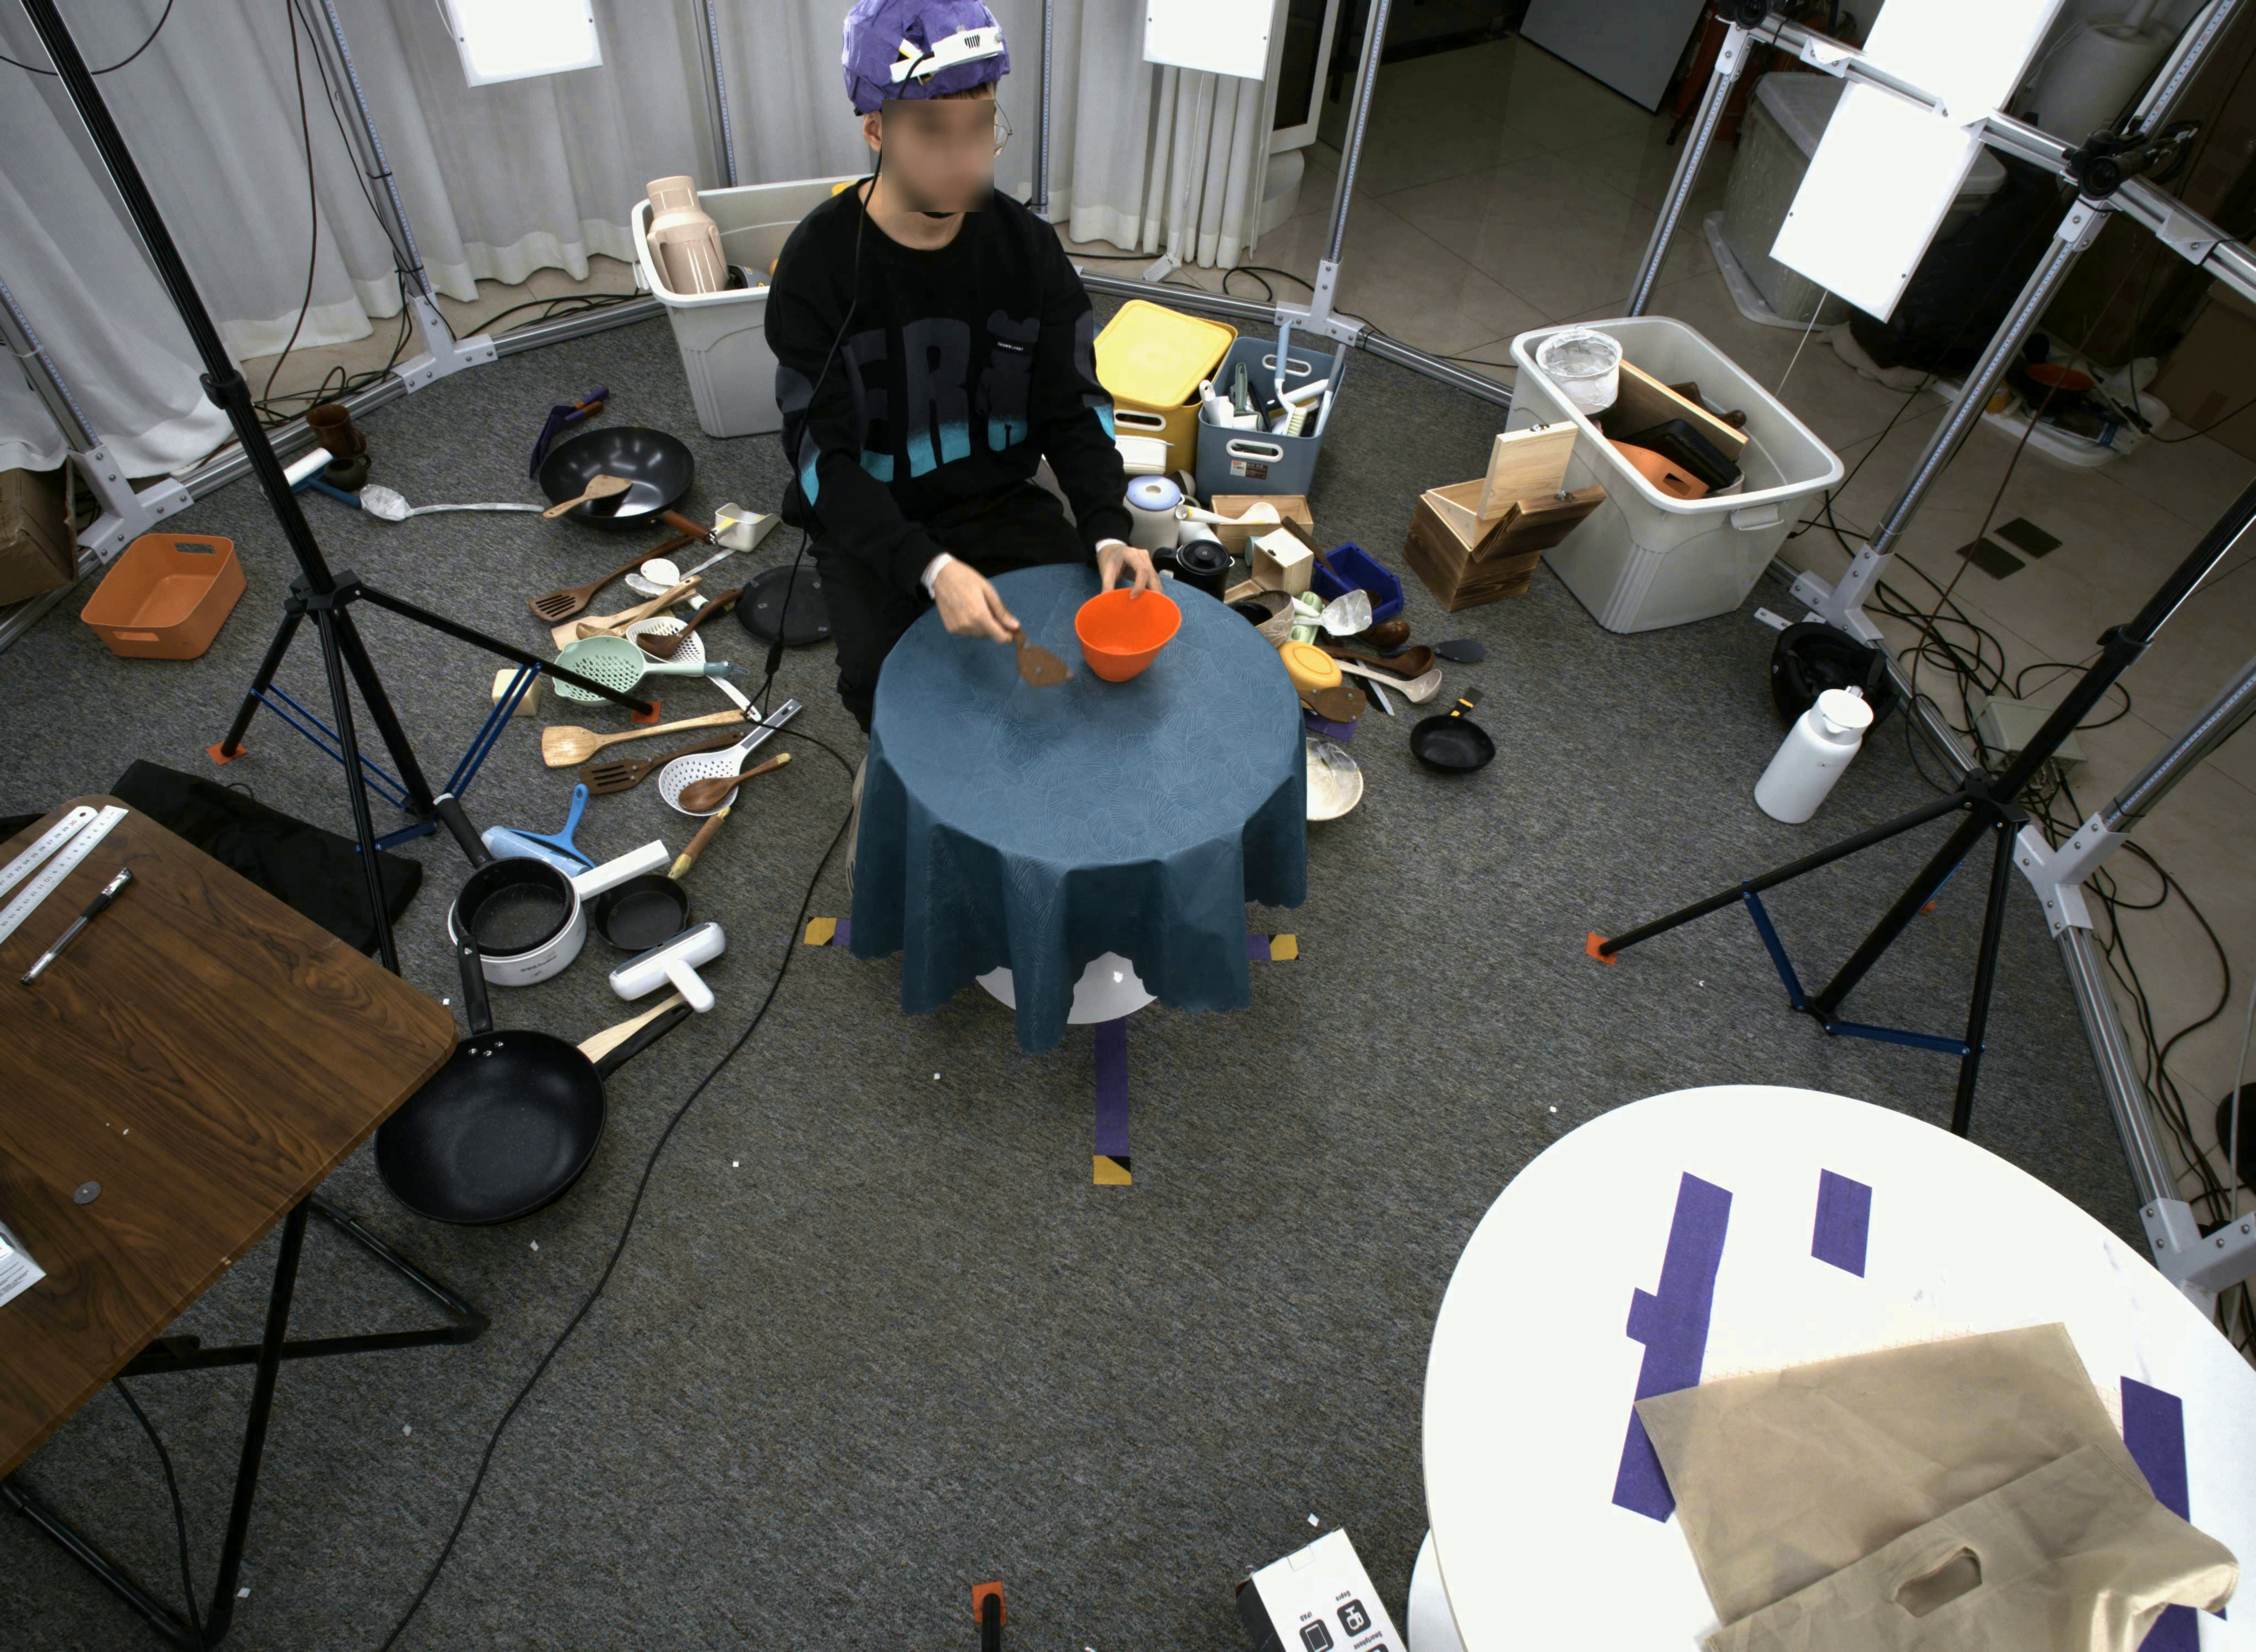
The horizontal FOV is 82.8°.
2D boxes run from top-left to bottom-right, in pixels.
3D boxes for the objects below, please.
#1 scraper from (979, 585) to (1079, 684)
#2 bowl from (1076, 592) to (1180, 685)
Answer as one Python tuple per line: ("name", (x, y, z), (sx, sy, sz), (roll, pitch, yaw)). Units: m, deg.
("scraper", (-0.148, -0.269, 1.795), (0.076, 0.010, 0.215), (-15, 54, -33))
("bowl", (-0.003, -0.259, 1.846), (0.148, 0.102, 0.152), (2, 48, -3))
